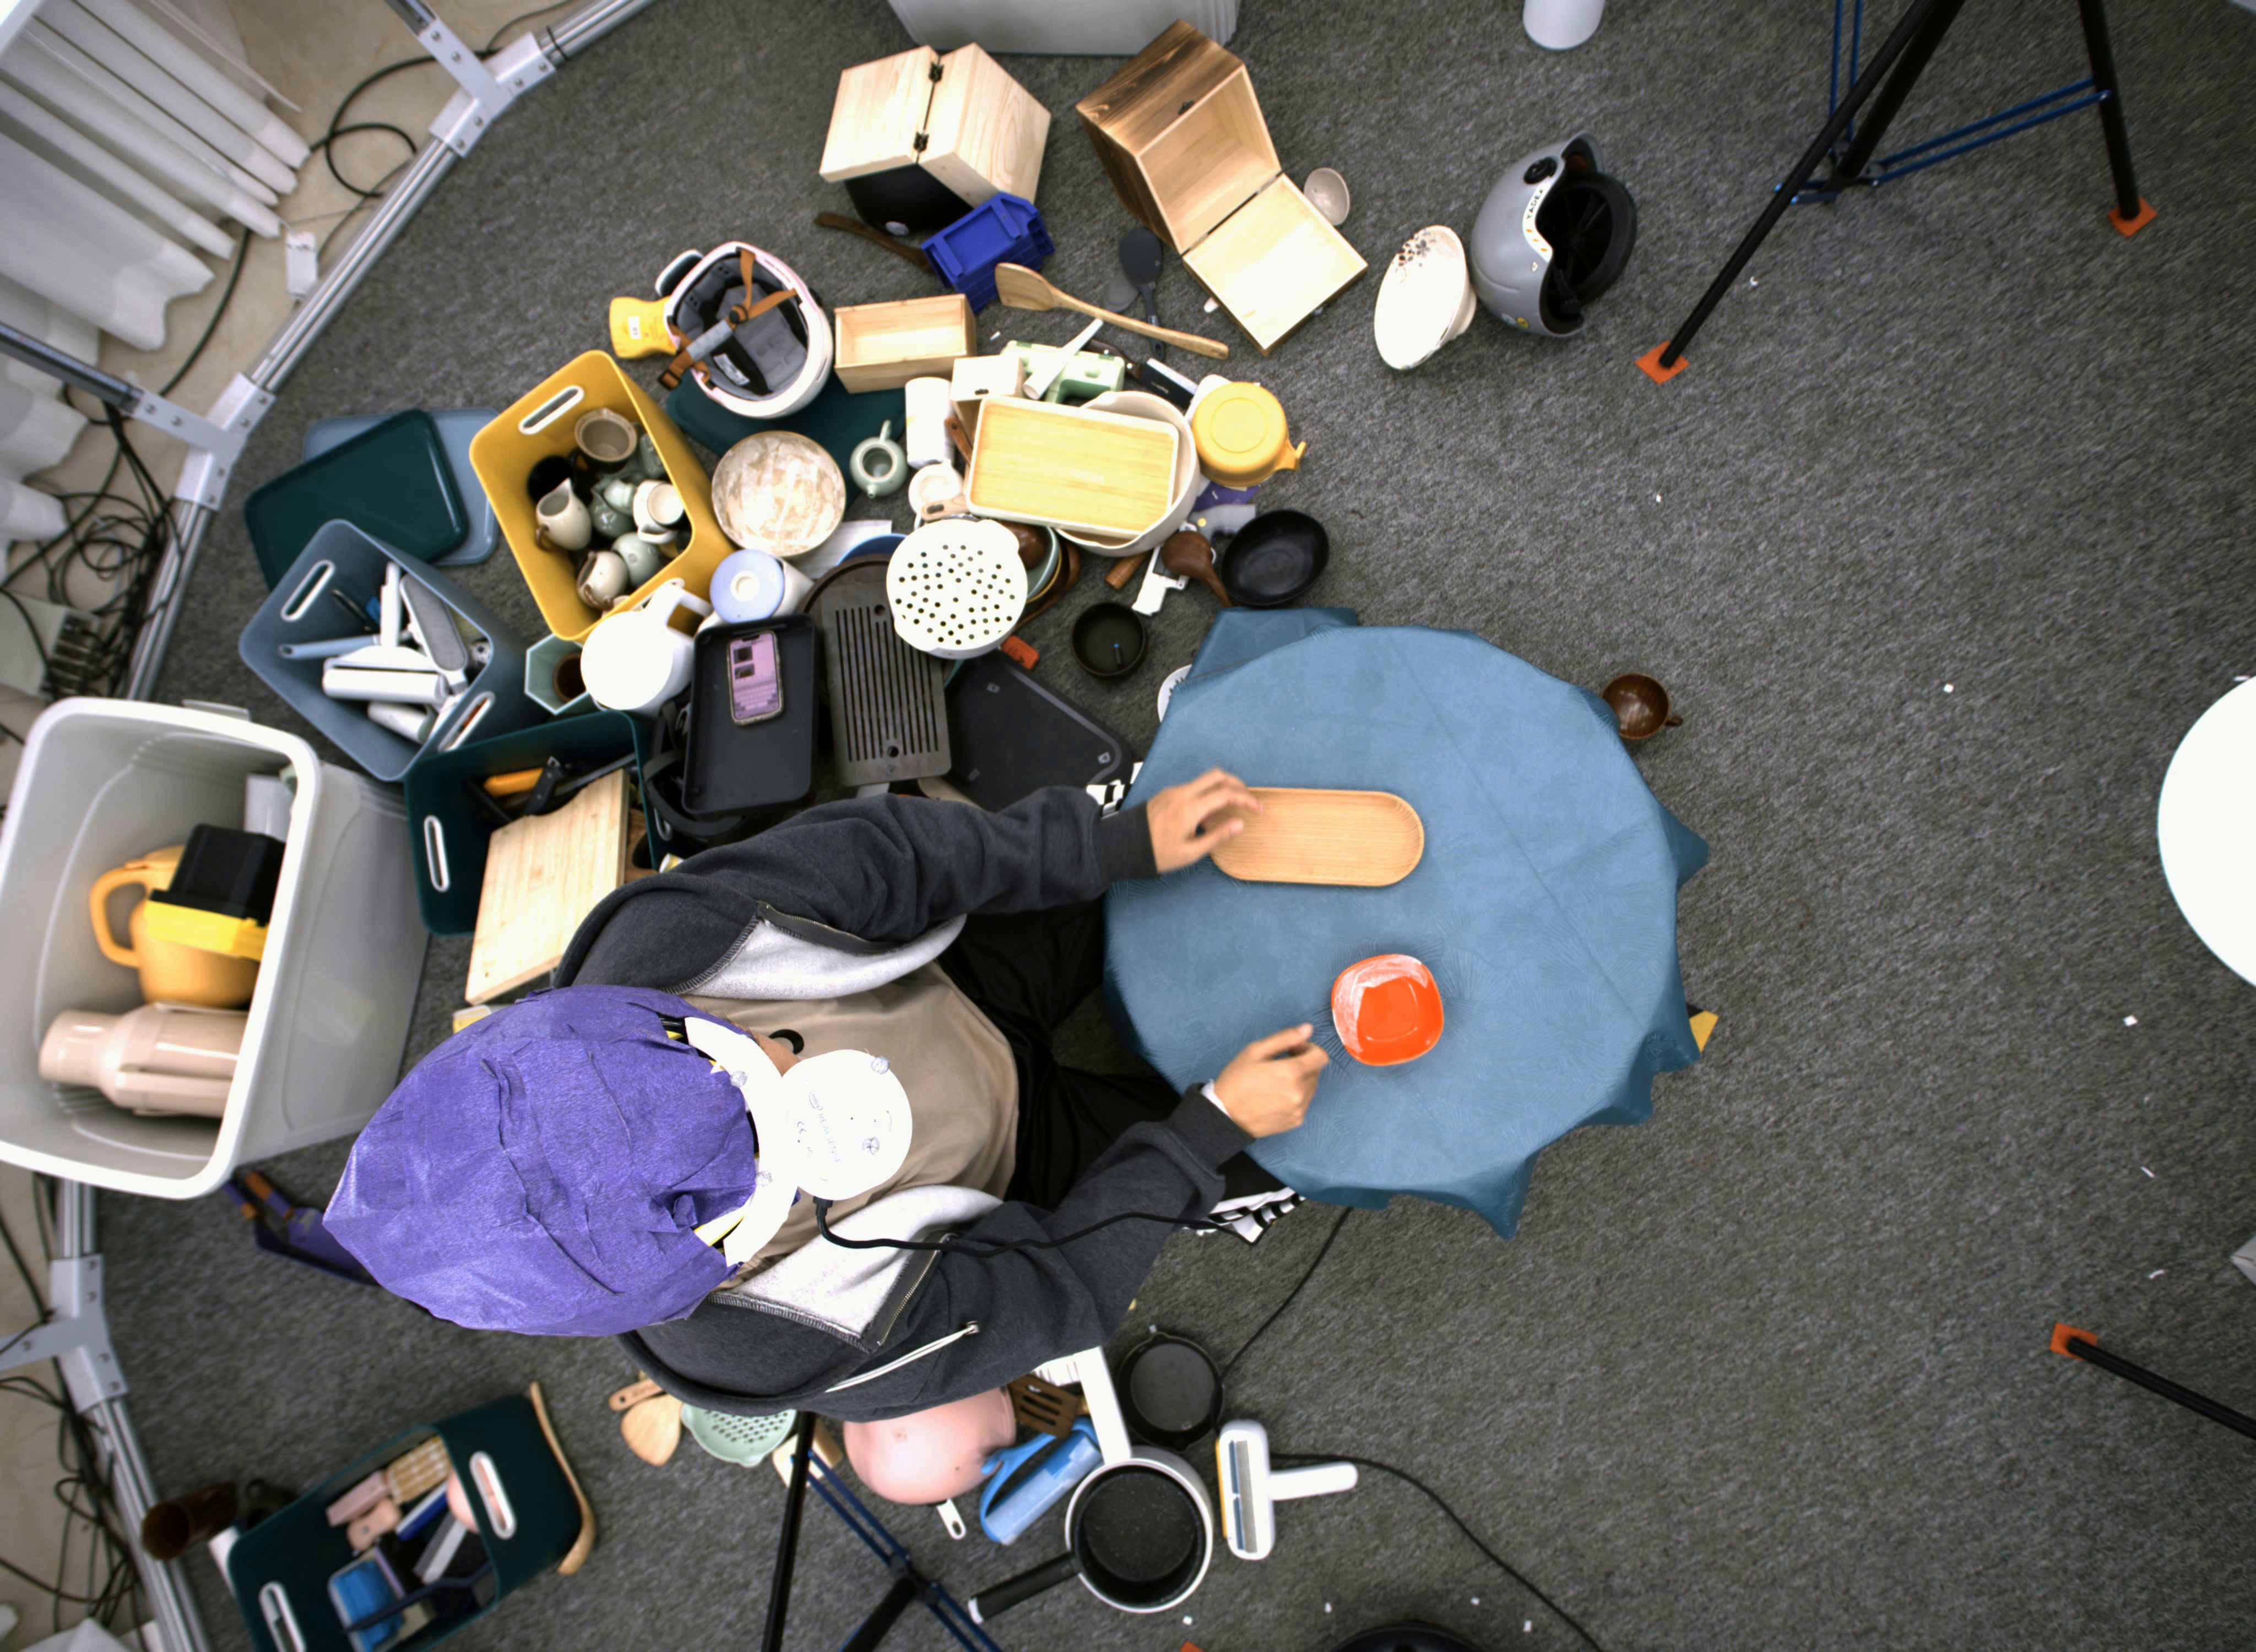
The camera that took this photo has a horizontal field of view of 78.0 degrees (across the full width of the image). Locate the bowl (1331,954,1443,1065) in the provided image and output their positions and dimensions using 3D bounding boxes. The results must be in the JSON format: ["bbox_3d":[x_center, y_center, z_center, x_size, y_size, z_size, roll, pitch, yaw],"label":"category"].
[{"bbox_3d":[0.266,0.187,1.426,0.119,0.051,0.118,-1,87,9],"label":"bowl"}]

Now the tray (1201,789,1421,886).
[{"bbox_3d":[0.194,0.012,1.468,0.232,0.020,0.101,1,86,11],"label":"tray"}]
